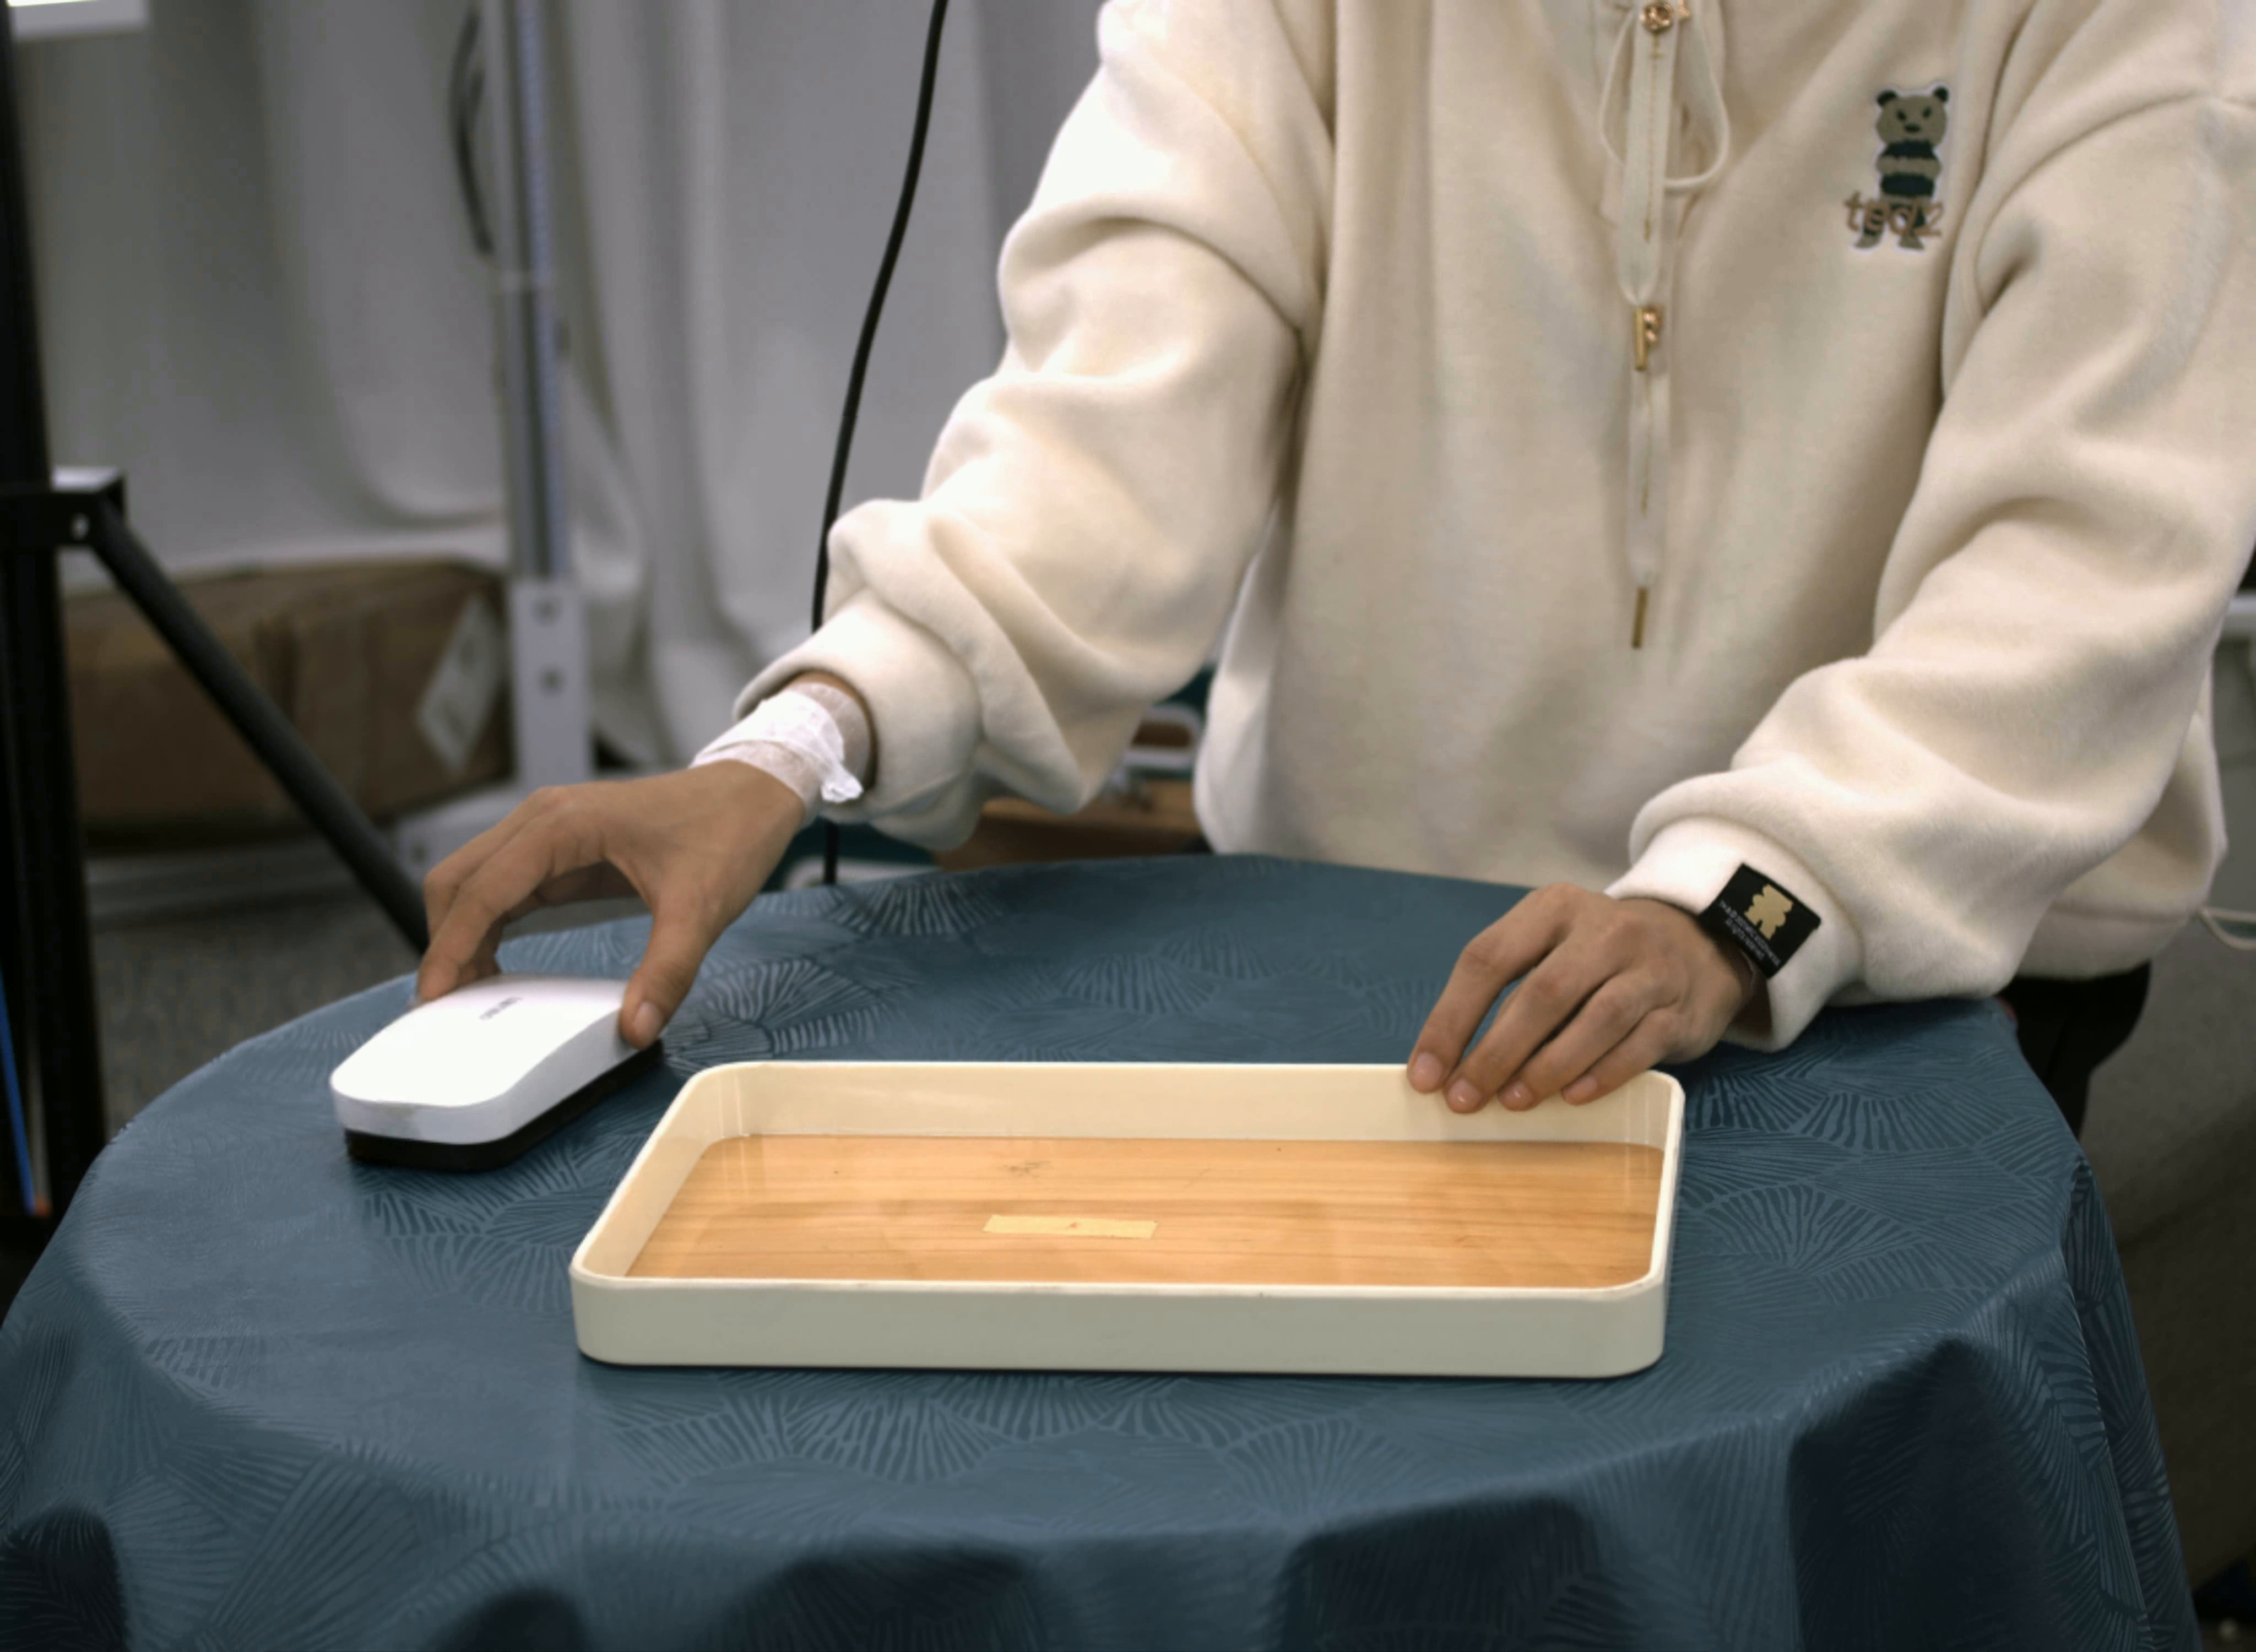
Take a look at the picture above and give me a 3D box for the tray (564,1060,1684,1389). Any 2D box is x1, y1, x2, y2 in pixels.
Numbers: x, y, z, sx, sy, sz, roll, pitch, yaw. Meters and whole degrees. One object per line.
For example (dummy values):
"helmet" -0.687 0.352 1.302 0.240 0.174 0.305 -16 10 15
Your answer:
"tray" 0.005 0.110 1.500 0.301 0.027 0.191 0 16 10

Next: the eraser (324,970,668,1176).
"eraser" -0.193 0.073 1.657 0.064 0.034 0.129 4 17 25
